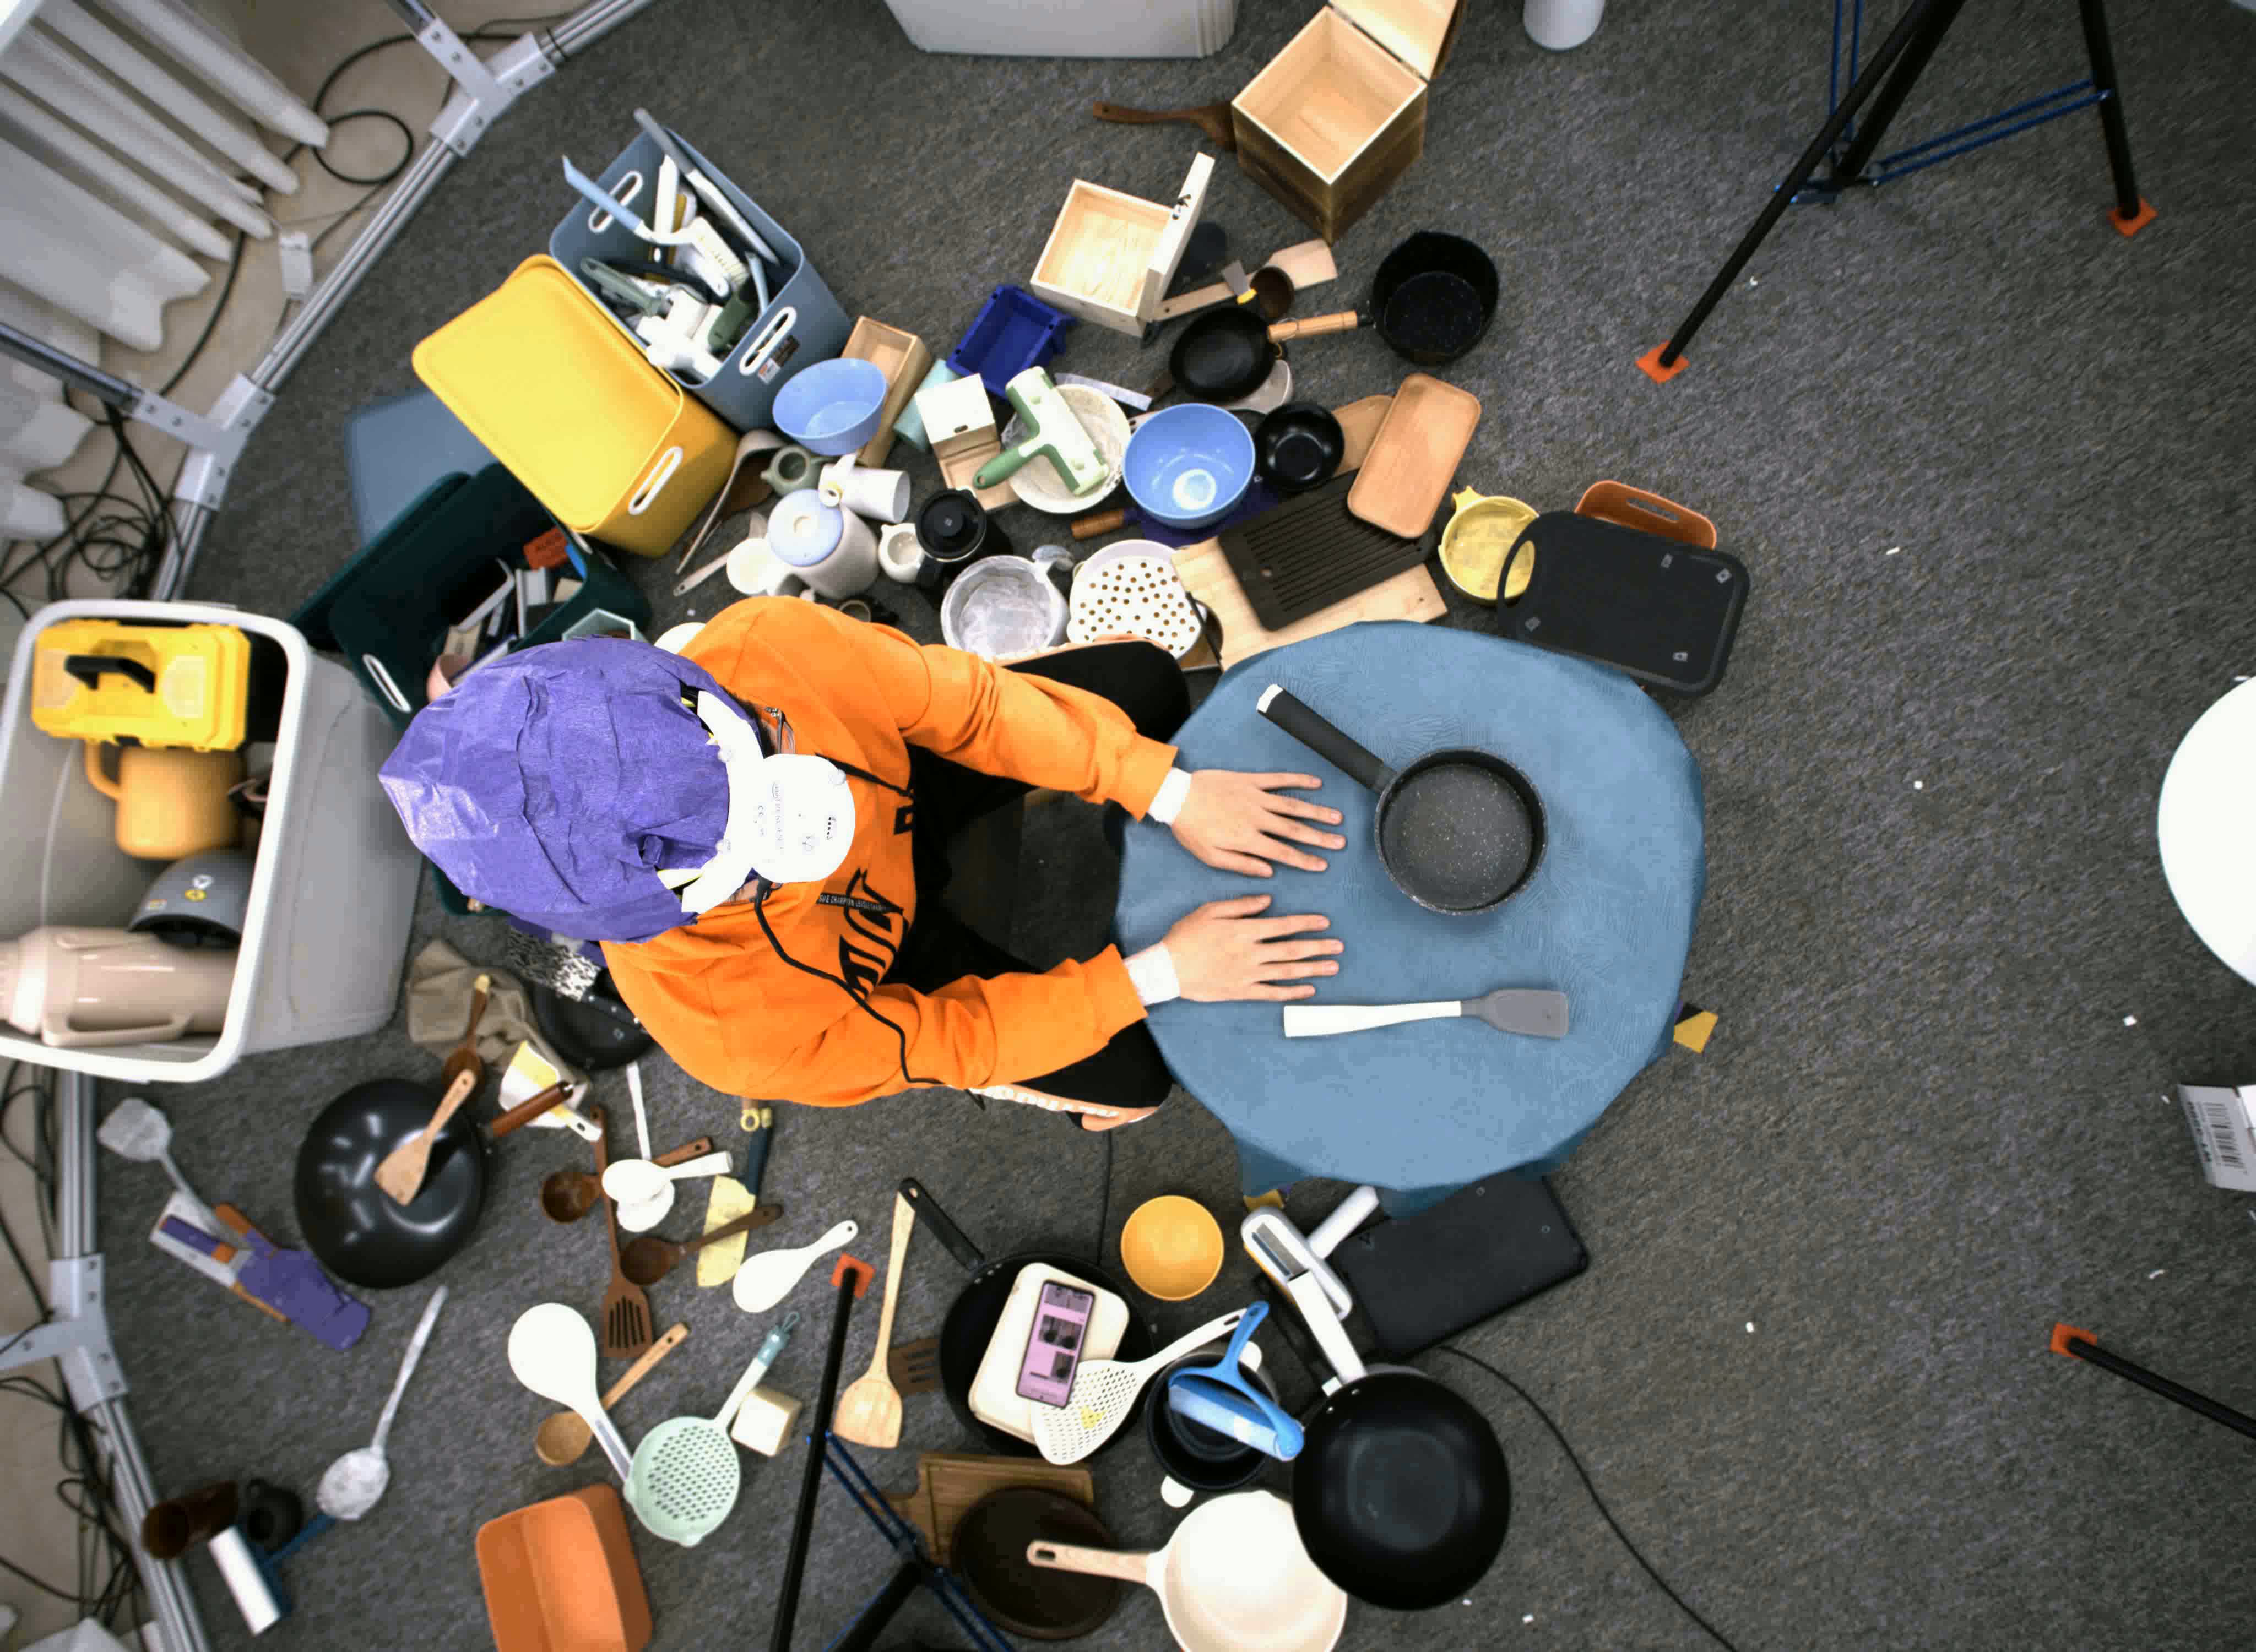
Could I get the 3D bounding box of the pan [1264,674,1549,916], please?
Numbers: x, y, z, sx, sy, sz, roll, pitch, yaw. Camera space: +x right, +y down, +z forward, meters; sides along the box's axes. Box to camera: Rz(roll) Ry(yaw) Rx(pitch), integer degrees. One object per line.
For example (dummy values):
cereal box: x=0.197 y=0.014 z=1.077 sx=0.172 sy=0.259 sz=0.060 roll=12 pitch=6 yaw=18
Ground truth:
pan: x=0.277 y=-0.042 z=1.422 sx=0.328 sy=0.086 sz=0.172 roll=38 pitch=93 yaw=9

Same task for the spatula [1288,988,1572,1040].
spatula: x=0.310 y=0.195 z=1.430 sx=0.289 sy=0.031 sz=0.059 roll=-4 pitch=108 yaw=11
